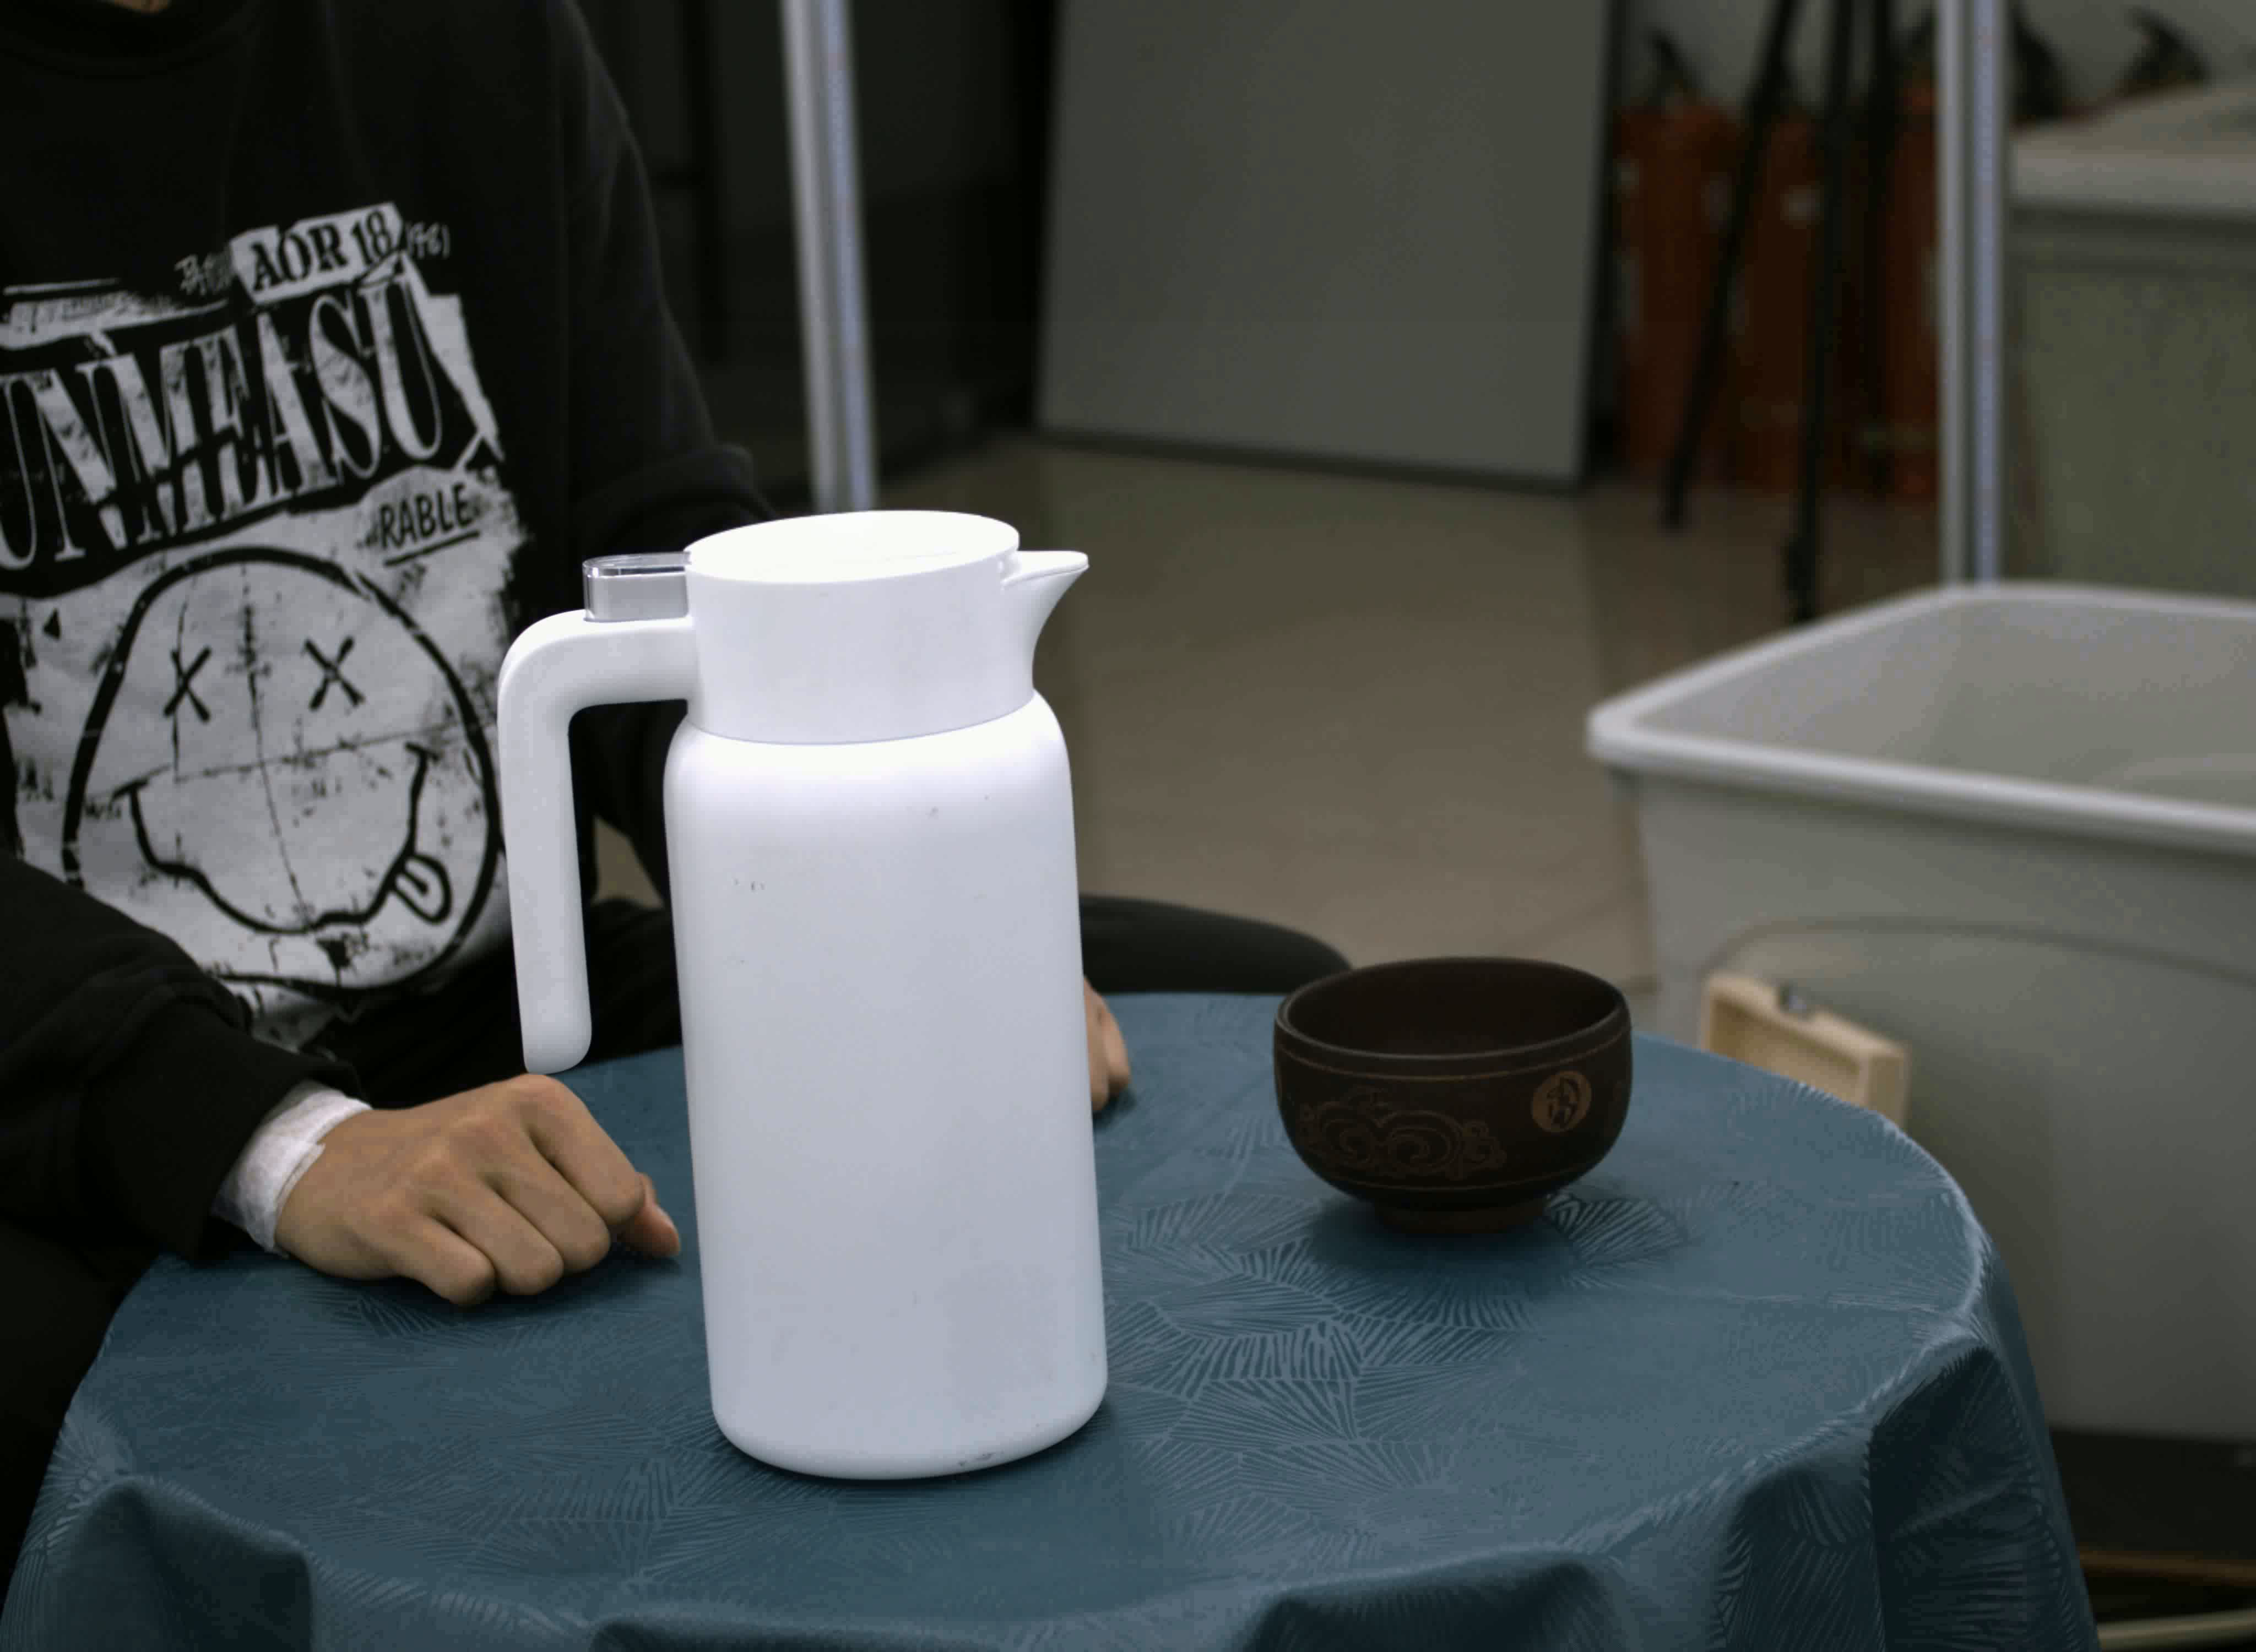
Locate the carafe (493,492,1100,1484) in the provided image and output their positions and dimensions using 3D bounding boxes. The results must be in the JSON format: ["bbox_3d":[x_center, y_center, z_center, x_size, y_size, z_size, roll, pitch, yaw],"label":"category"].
[{"bbox_3d":[-0.089,0.047,1.544,0.170,0.272,0.124,-5,15,-5],"label":"carafe"}]

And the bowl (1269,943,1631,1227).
[{"bbox_3d":[0.104,0.087,1.725,0.116,0.070,0.118,-5,14,0],"label":"bowl"}]
